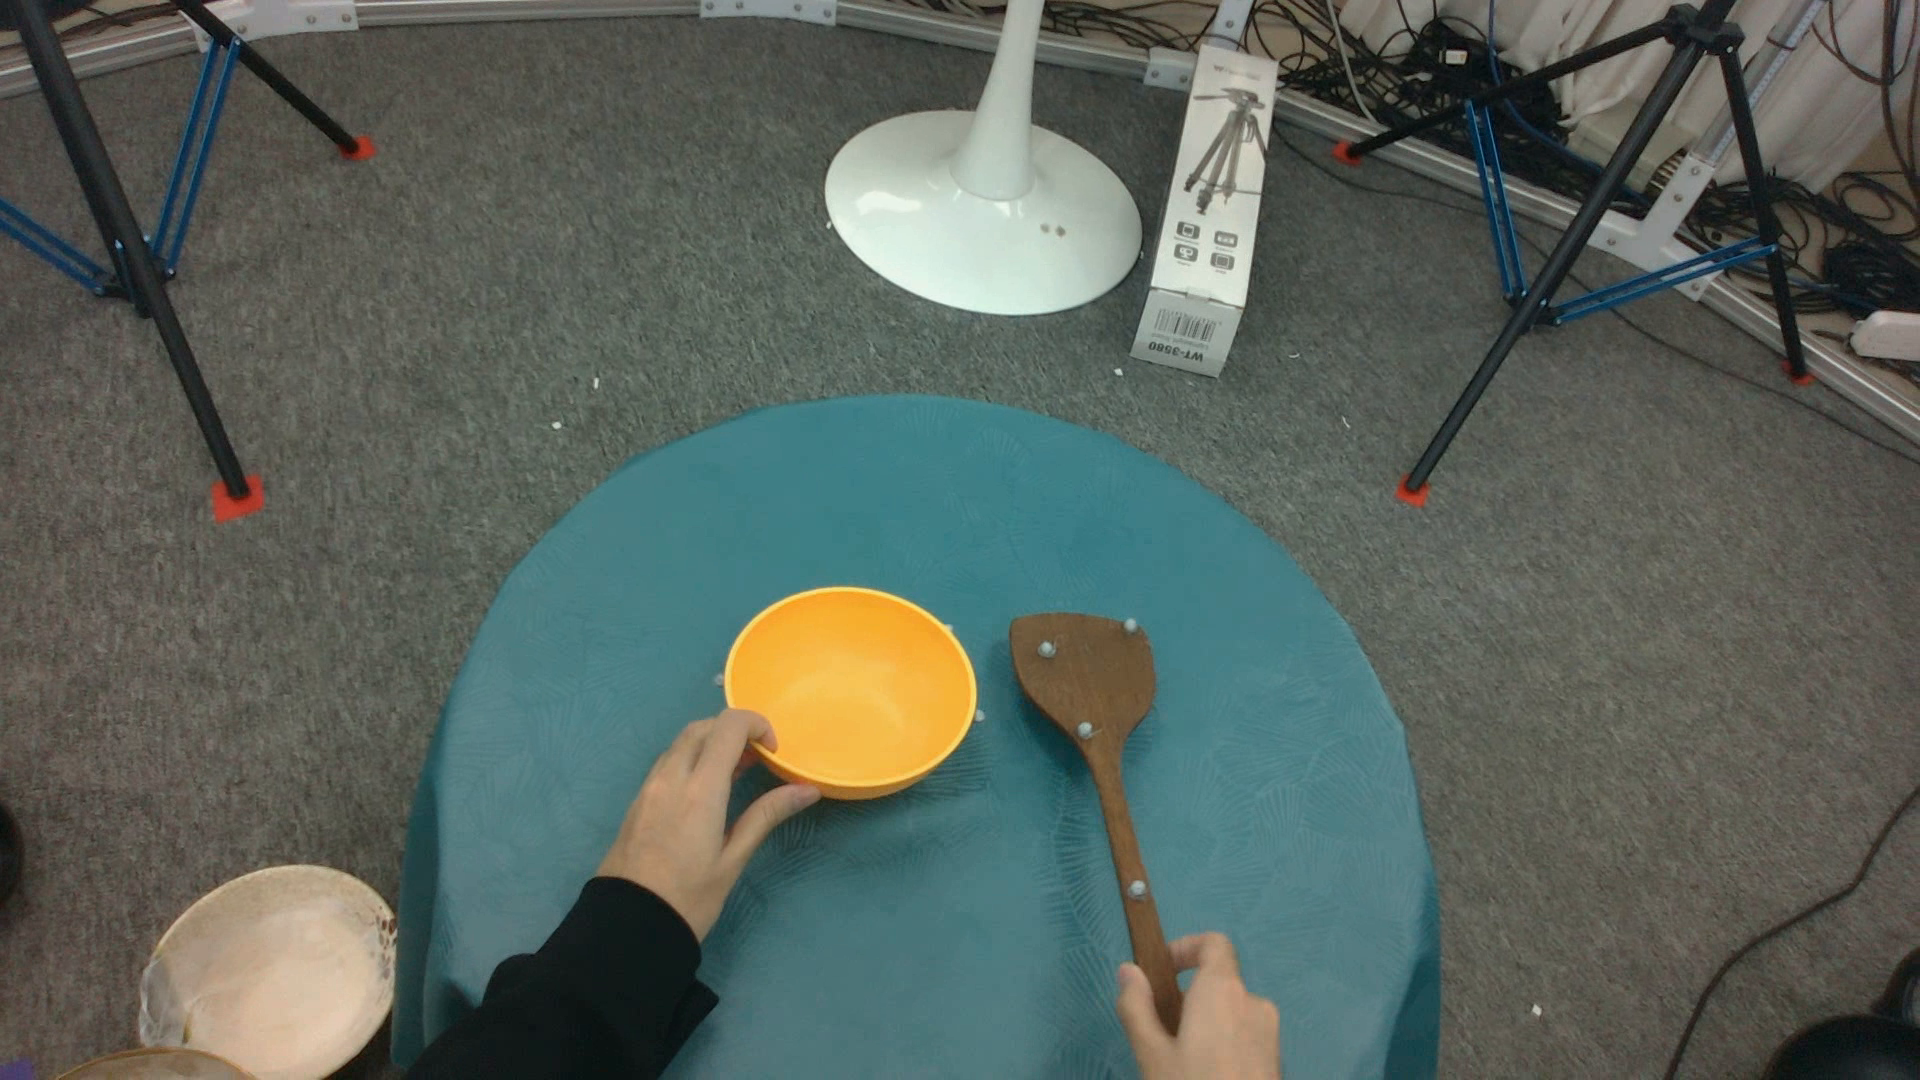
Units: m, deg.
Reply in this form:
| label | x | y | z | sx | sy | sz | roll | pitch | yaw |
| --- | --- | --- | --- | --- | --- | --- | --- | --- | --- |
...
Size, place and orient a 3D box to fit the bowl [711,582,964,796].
| label | x | y | z | sx | sy | sz | roll | pitch | yaw |
| --- | --- | --- | --- | --- | --- | --- | --- | --- | --- |
| bowl | -0.073 | 0.097 | 0.810 | 0.145 | 0.060 | 0.146 | 5 | 47 | -5 |

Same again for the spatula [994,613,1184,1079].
| label | x | y | z | sx | sy | sz | roll | pitch | yaw |
| --- | --- | --- | --- | --- | --- | --- | --- | --- | --- |
| spatula | 0.083 | 0.177 | 0.757 | 0.096 | 0.015 | 0.387 | 6 | 40 | -13 |
